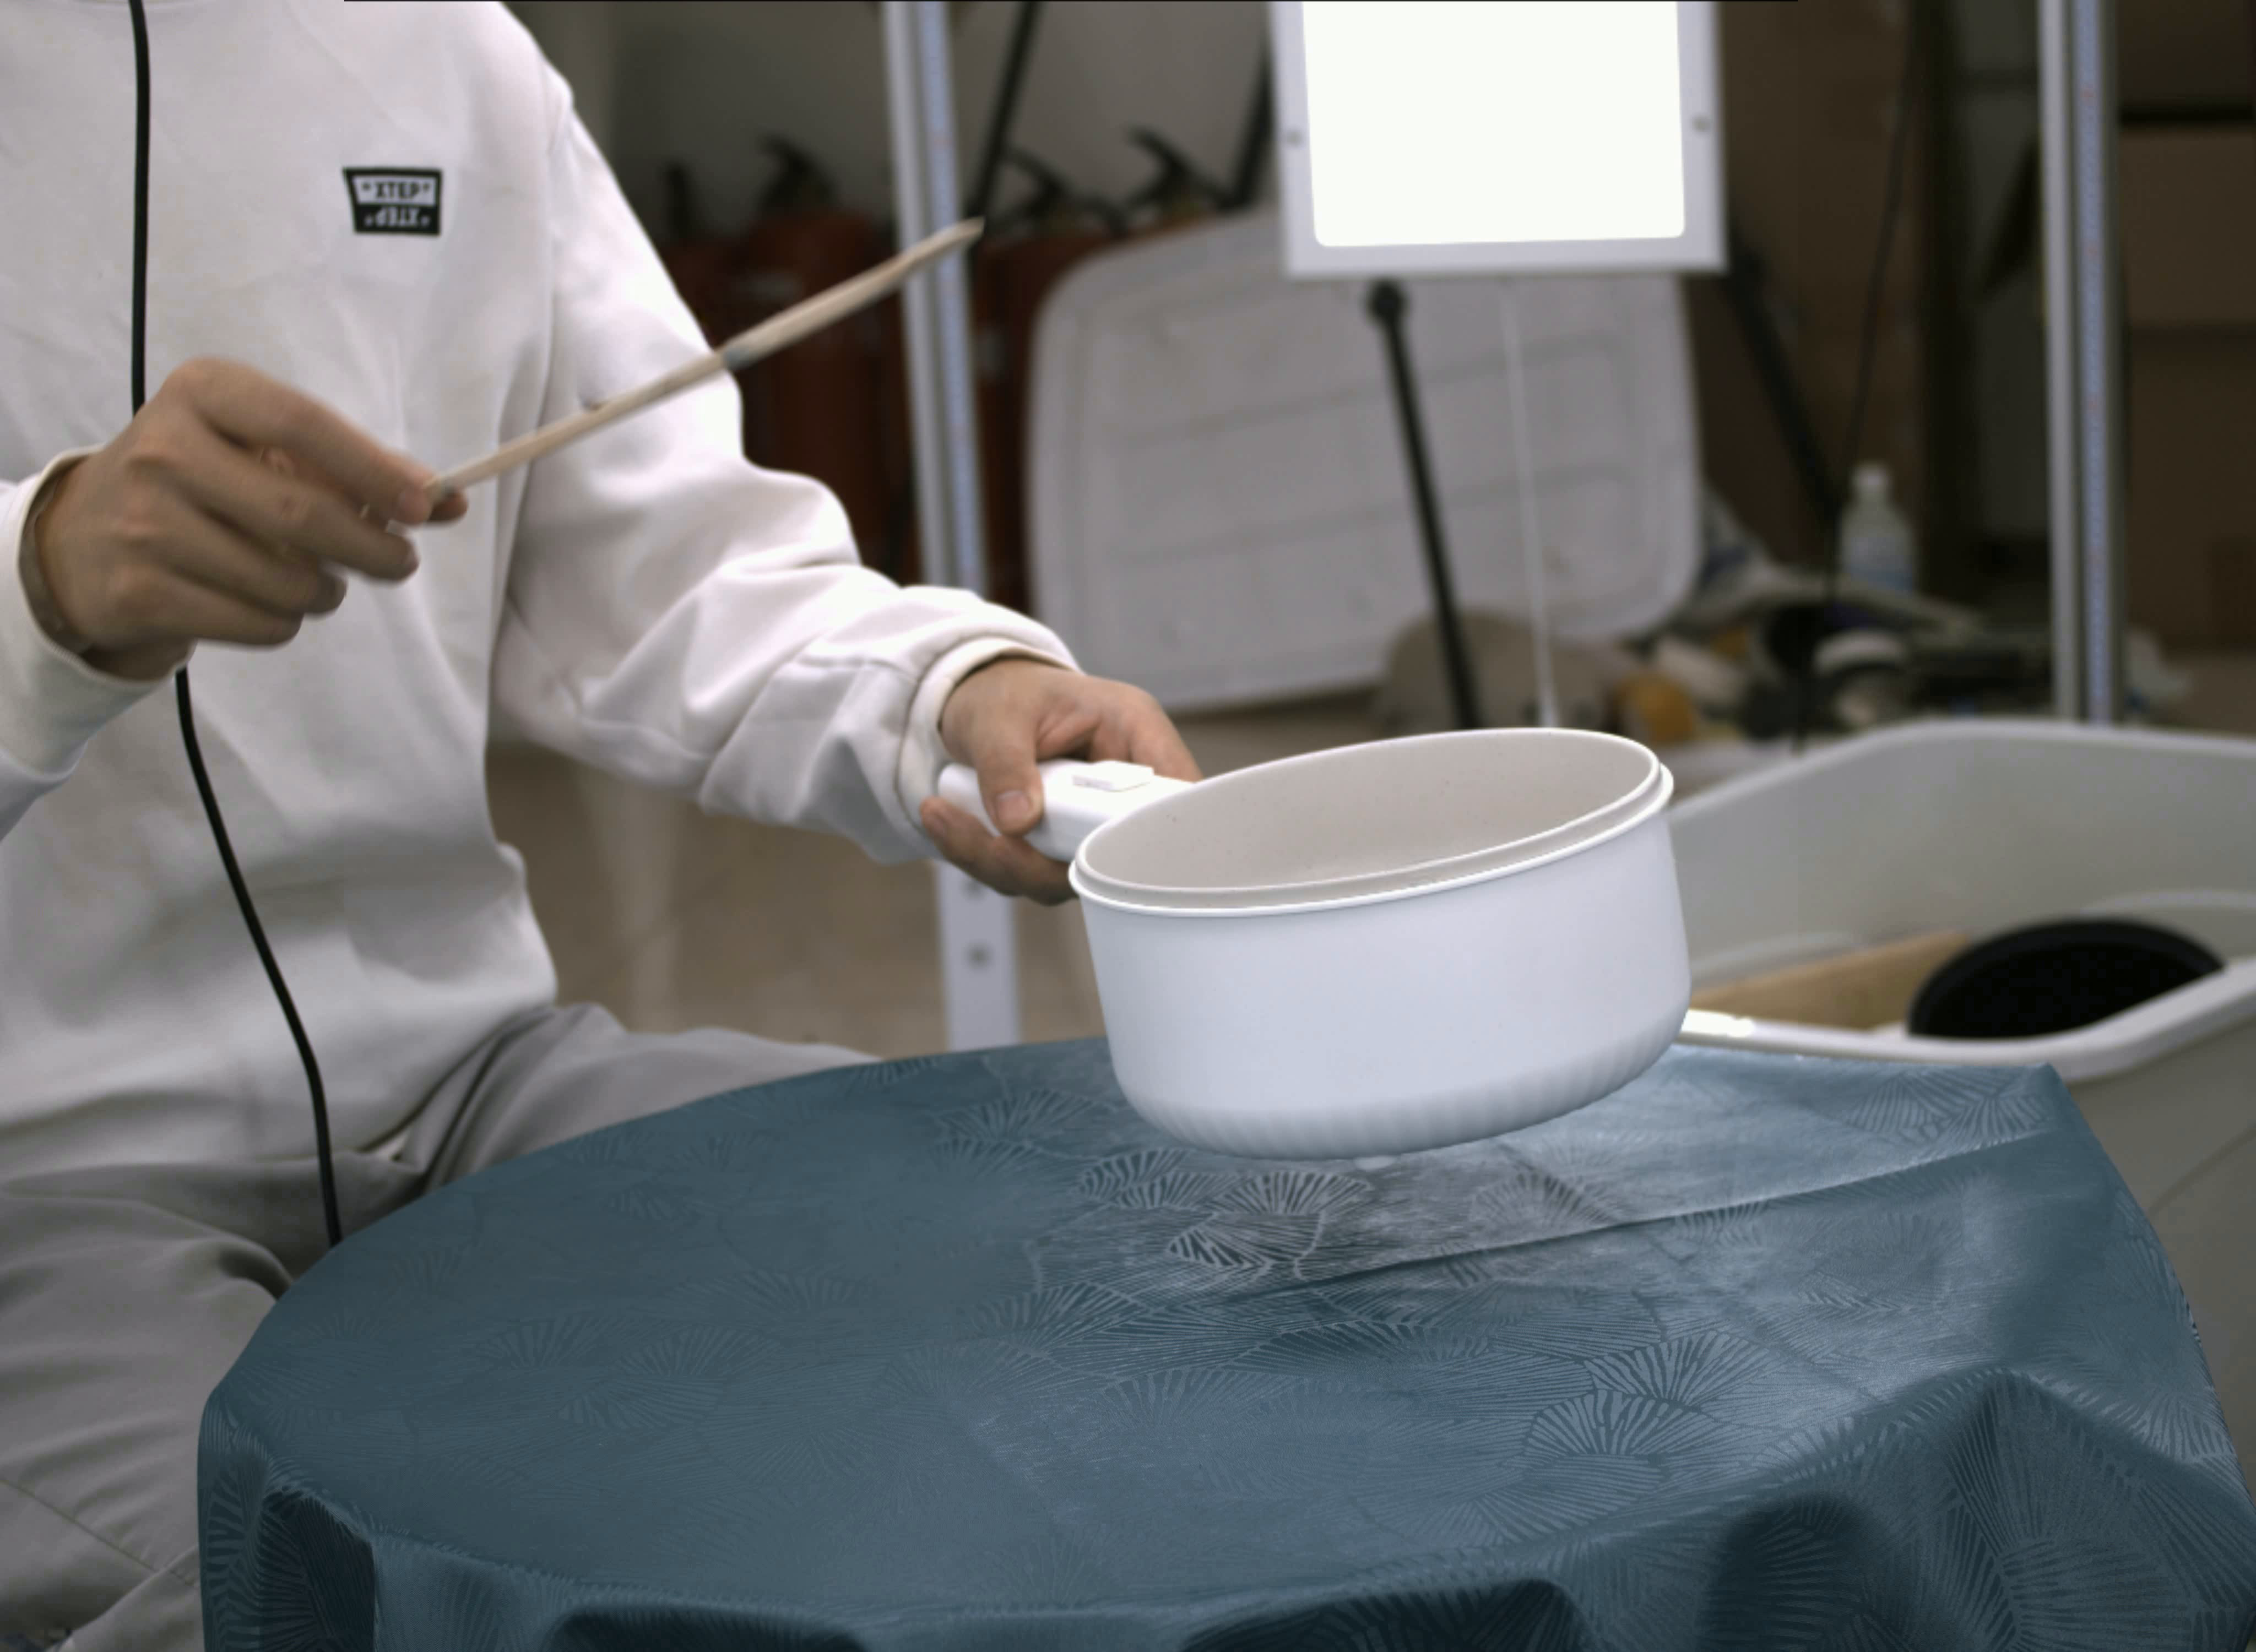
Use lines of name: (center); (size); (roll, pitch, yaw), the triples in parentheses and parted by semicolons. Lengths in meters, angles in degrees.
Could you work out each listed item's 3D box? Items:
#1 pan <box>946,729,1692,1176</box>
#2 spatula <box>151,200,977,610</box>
pan: (0.046, 0.037, 1.880); (0.197, 0.102, 0.362); (-19, 14, -28)
spatula: (-0.177, -0.123, 1.669); (0.297, 0.010, 0.071); (-23, 7, 23)
